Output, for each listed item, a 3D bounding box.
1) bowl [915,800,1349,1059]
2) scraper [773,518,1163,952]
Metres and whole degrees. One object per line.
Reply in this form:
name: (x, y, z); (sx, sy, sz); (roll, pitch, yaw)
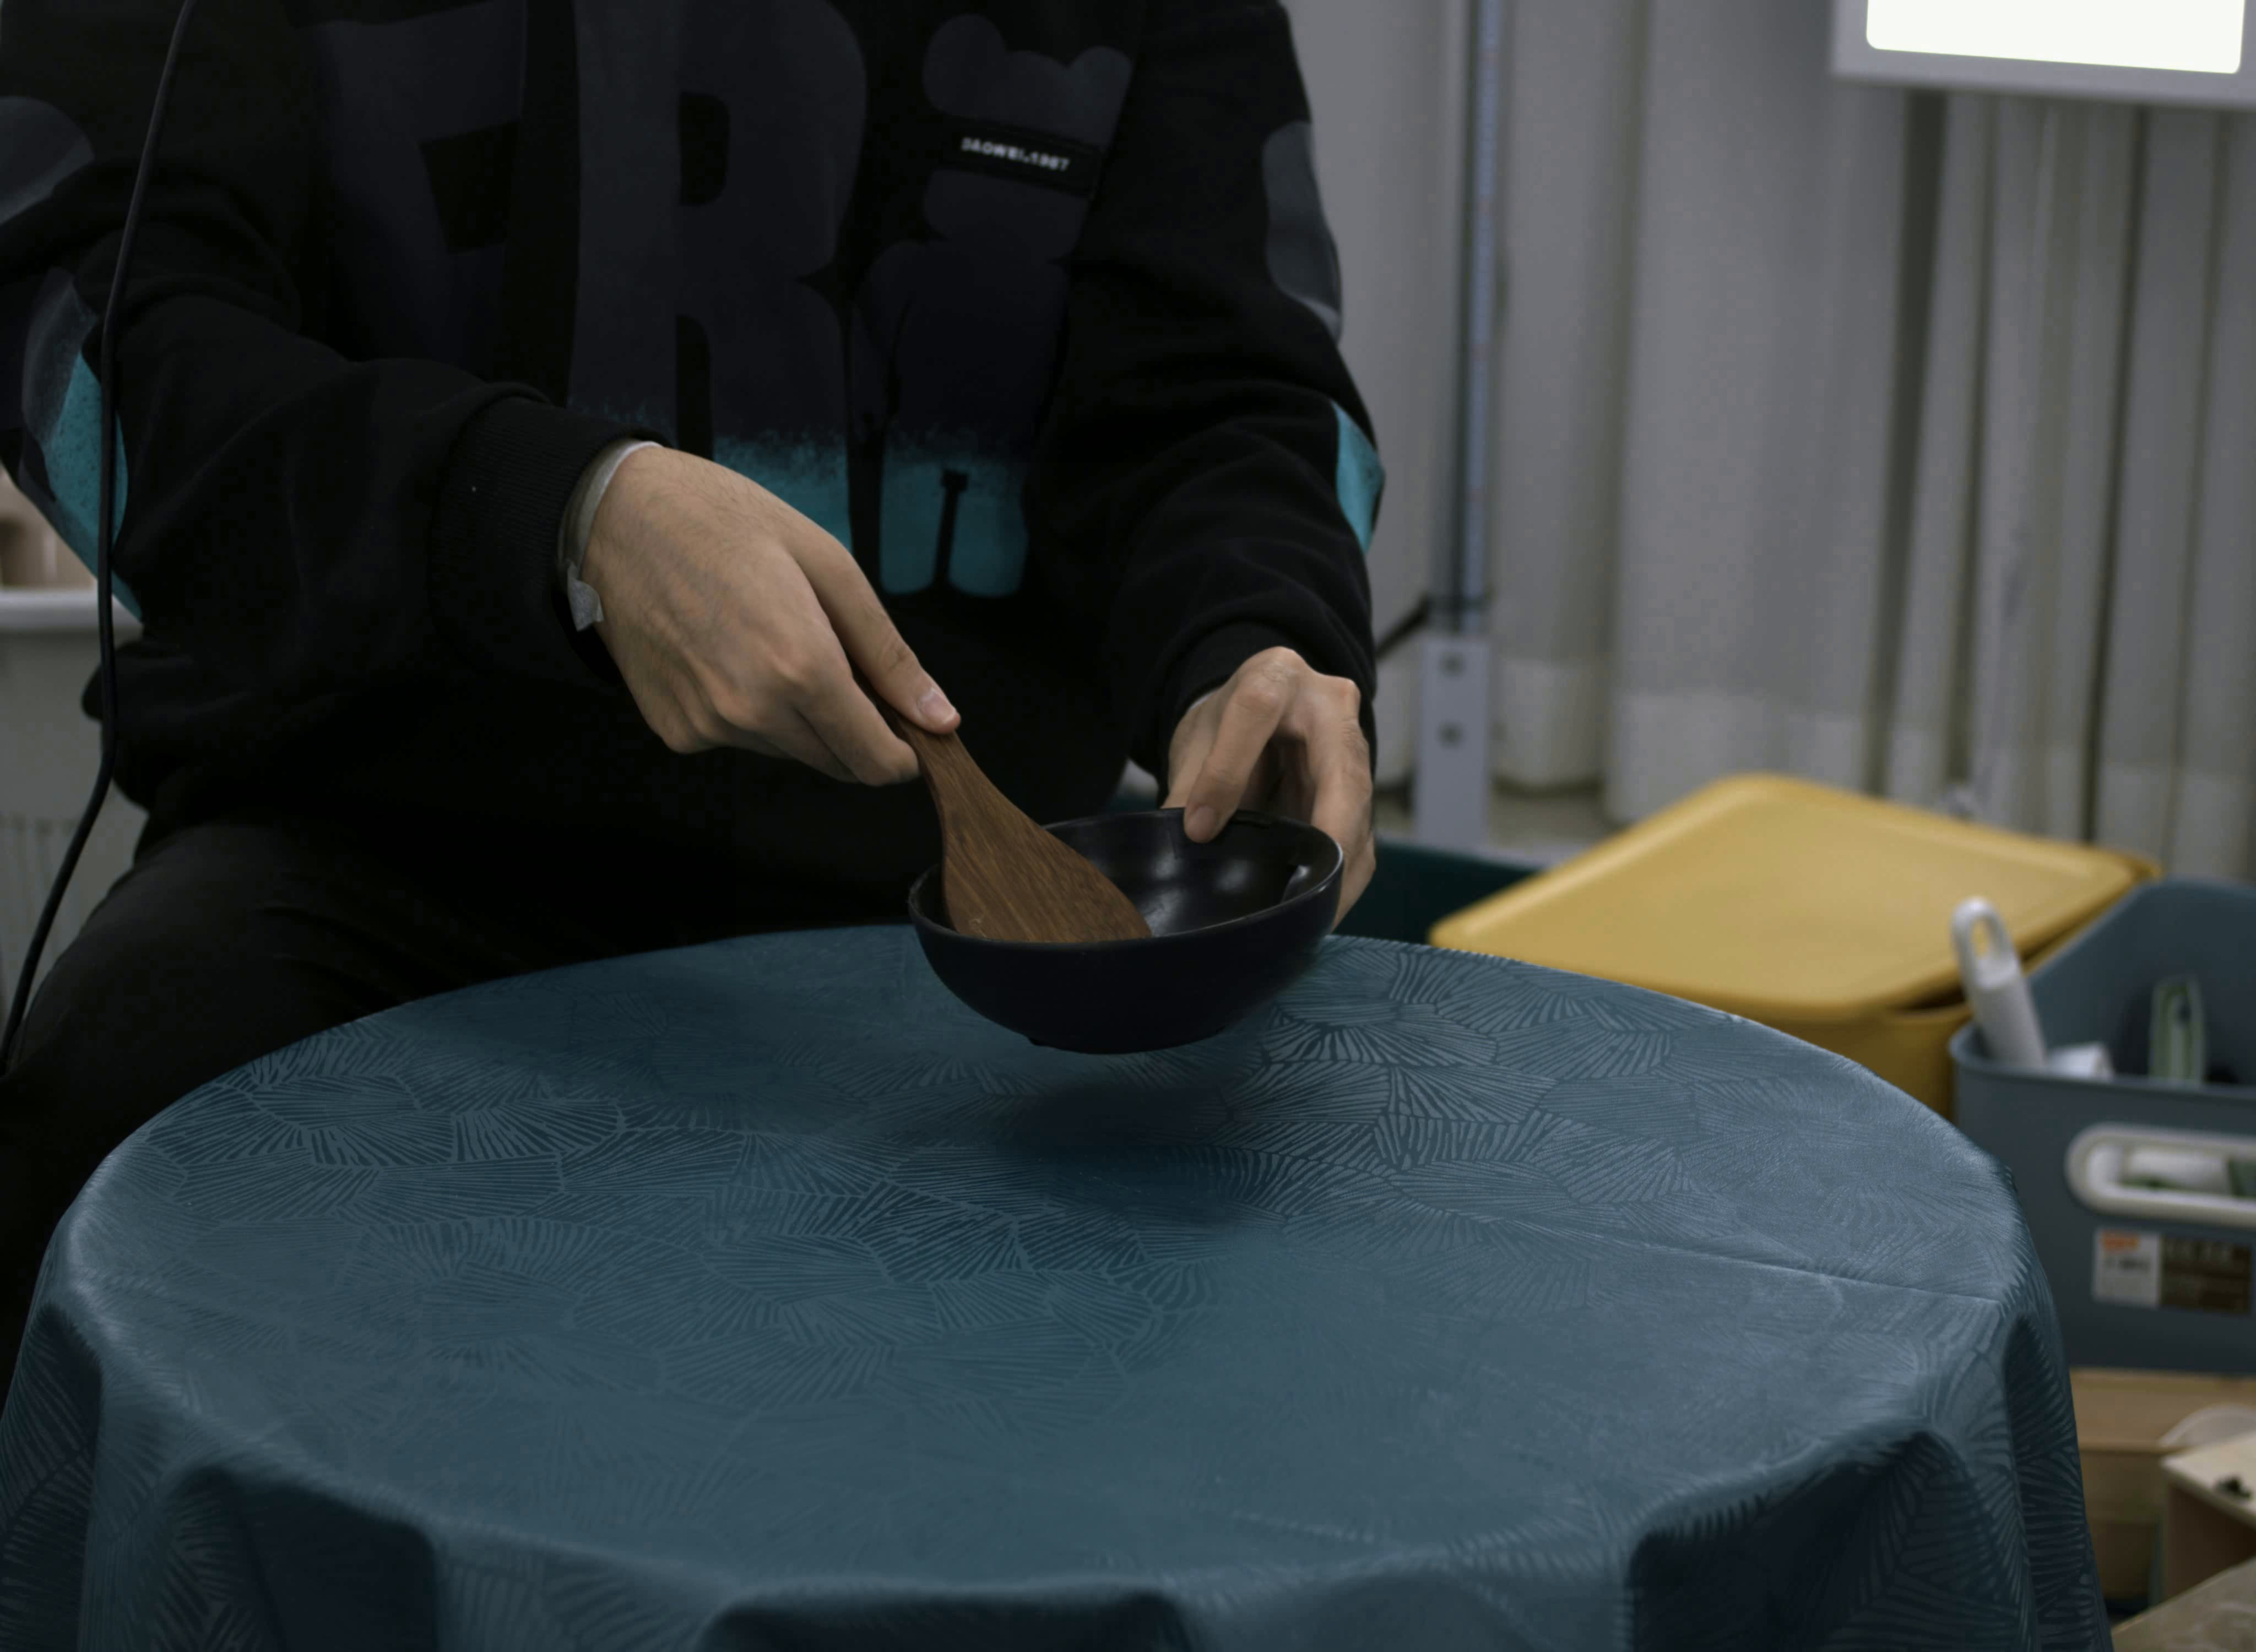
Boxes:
bowl: (0.005, 0.038, 1.667); (0.139, 0.050, 0.139); (-8, 18, 3)
scraper: (-0.059, -0.021, 1.714); (0.076, 0.011, 0.209); (-10, 58, -40)
